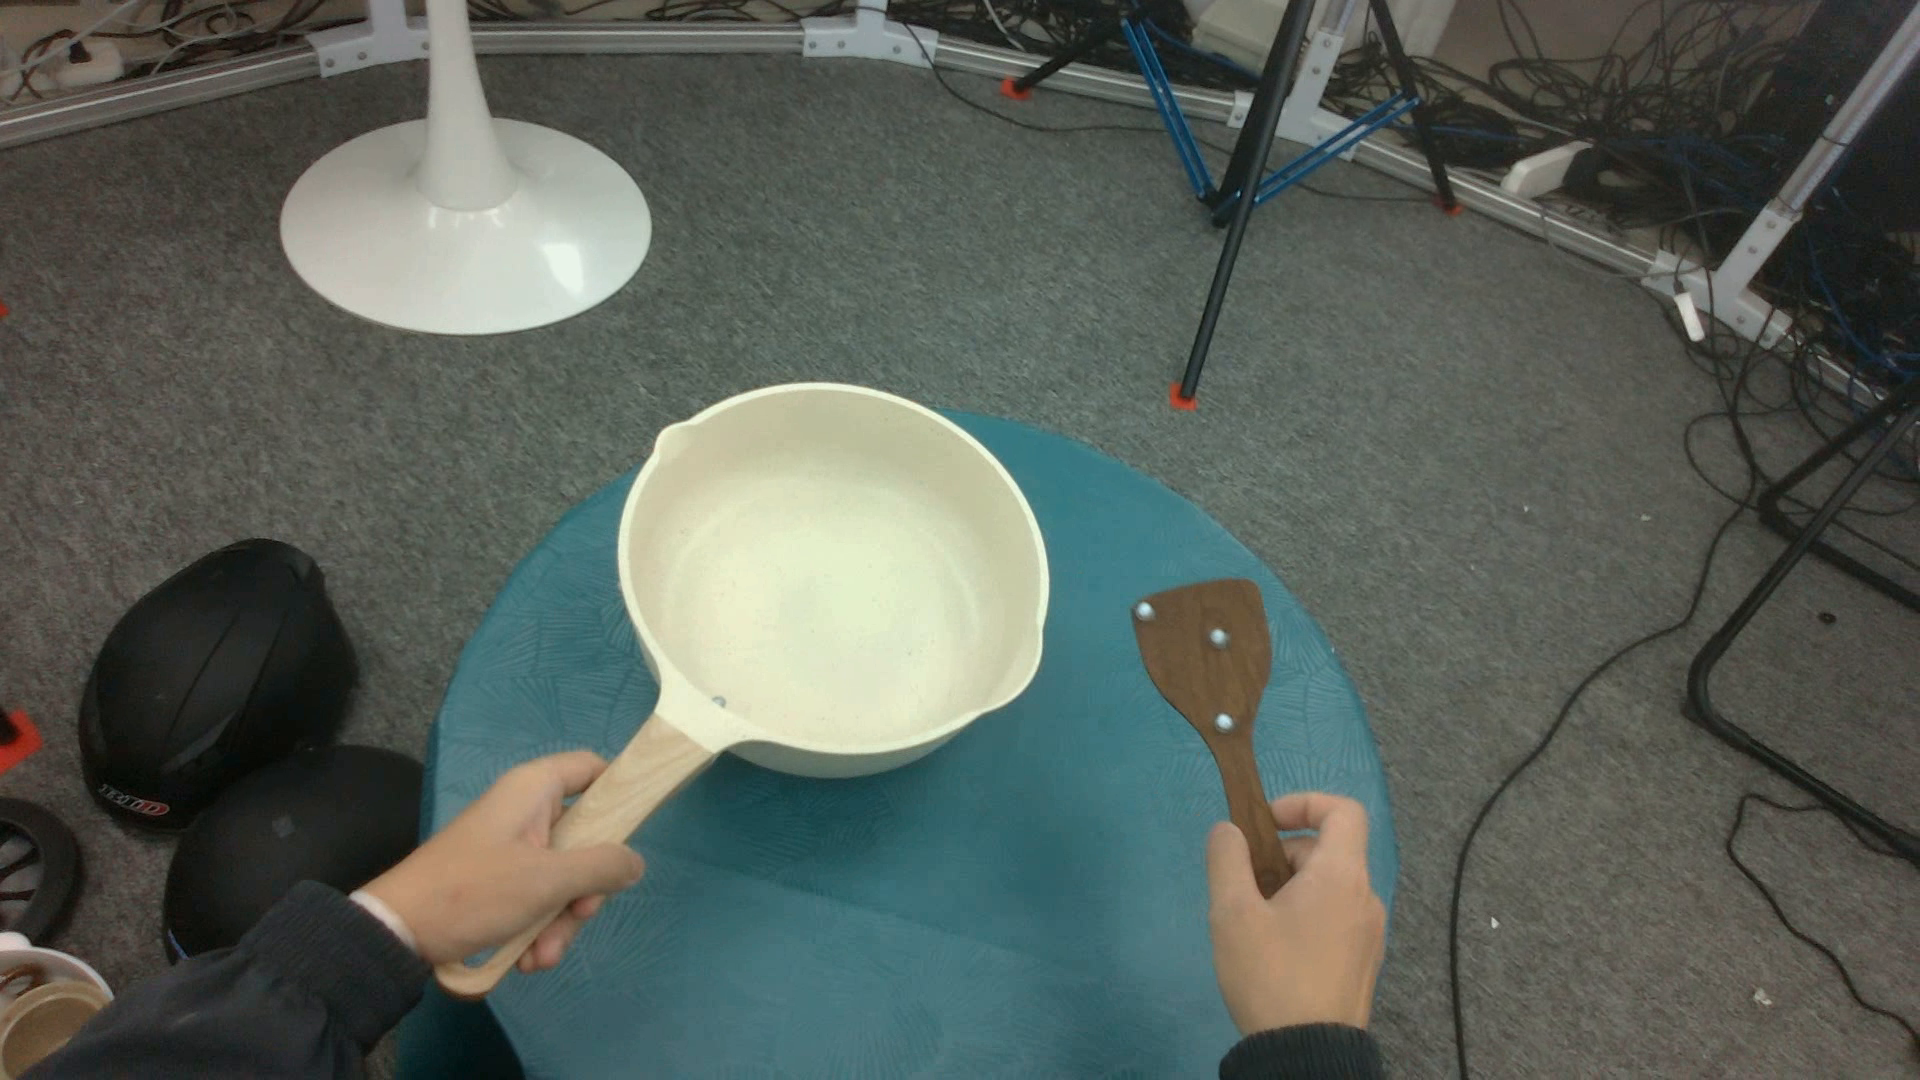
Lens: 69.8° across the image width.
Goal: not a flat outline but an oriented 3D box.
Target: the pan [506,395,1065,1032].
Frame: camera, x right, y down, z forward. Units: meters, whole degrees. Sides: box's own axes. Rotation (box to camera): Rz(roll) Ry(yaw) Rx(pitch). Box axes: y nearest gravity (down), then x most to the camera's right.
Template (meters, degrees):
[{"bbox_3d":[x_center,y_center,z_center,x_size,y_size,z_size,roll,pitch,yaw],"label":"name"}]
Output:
[{"bbox_3d":[-0.109,0.094,0.790,0.263,0.101,0.437,30,56,7],"label":"pan"}]

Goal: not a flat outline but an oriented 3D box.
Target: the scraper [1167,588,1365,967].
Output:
[{"bbox_3d":[0.170,0.121,0.734,0.076,0.011,0.212,-13,57,2],"label":"scraper"}]
